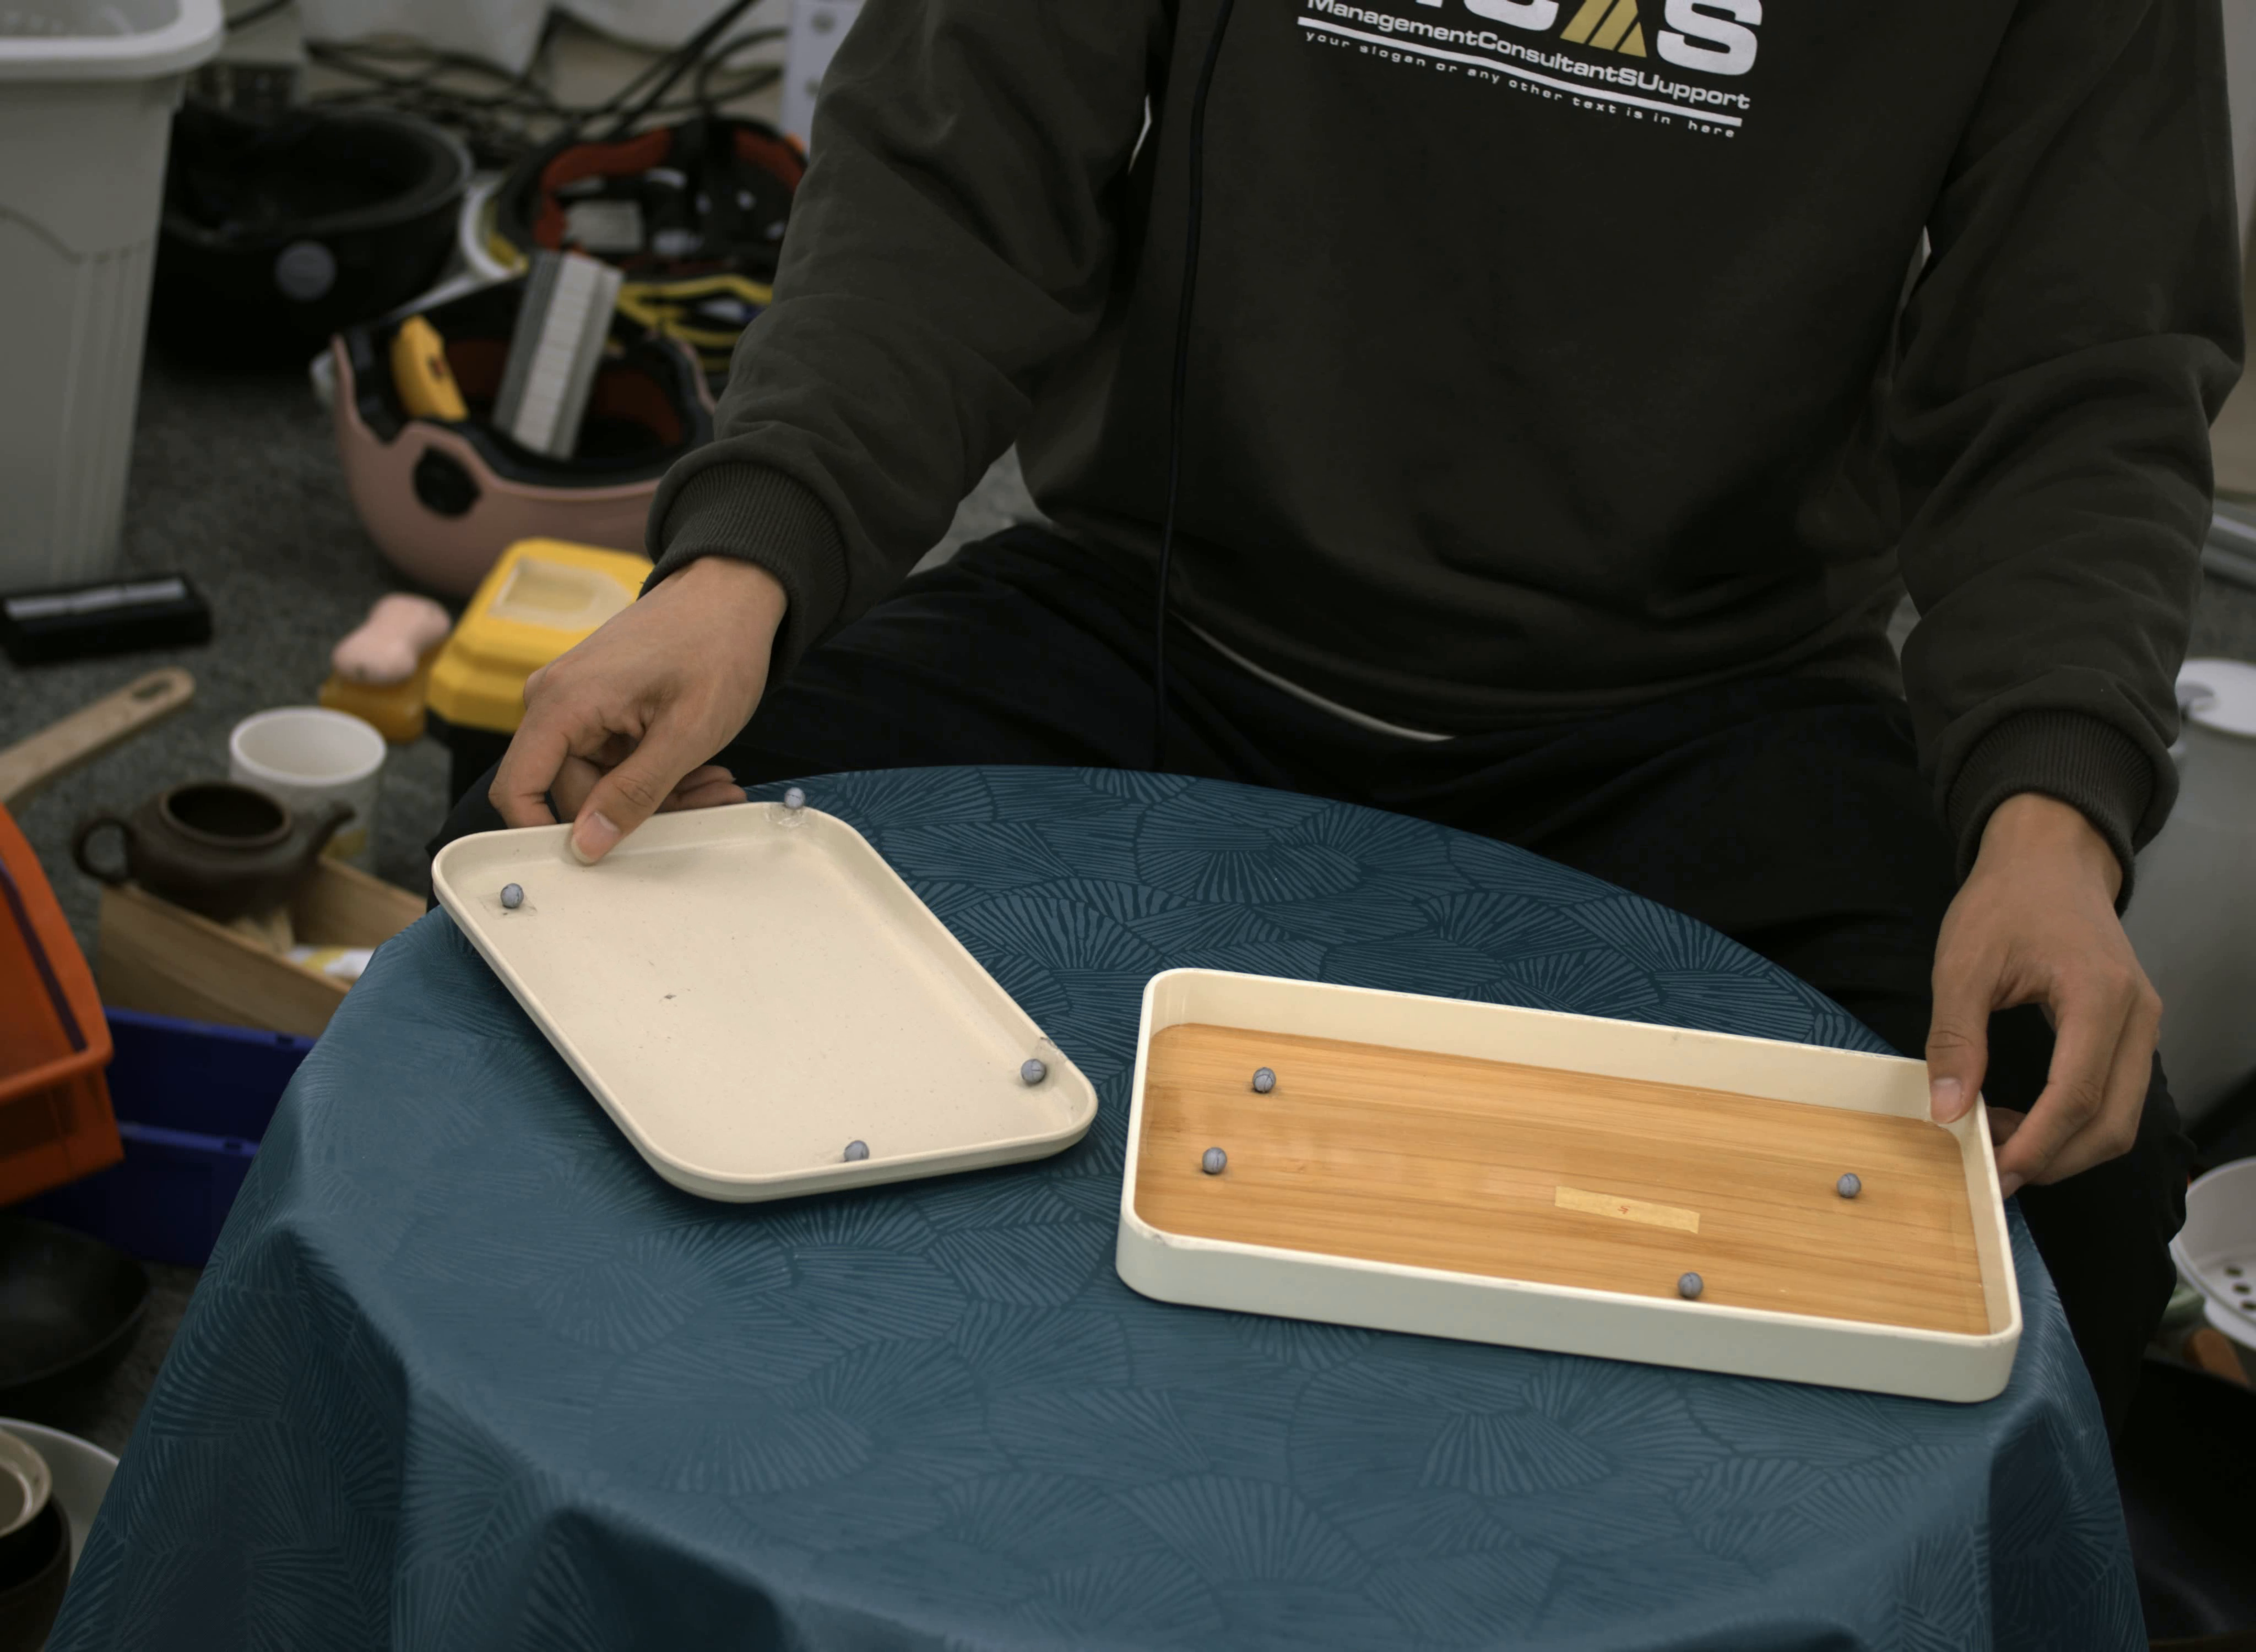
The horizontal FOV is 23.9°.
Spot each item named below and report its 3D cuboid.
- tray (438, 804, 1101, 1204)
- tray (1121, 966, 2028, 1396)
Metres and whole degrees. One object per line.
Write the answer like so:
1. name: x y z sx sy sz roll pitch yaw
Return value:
1. tray: -0.129 0.061 1.869 0.170 0.017 0.242 -7 32 -29
2. tray: 0.150 0.120 1.821 0.299 0.027 0.192 7 26 0
